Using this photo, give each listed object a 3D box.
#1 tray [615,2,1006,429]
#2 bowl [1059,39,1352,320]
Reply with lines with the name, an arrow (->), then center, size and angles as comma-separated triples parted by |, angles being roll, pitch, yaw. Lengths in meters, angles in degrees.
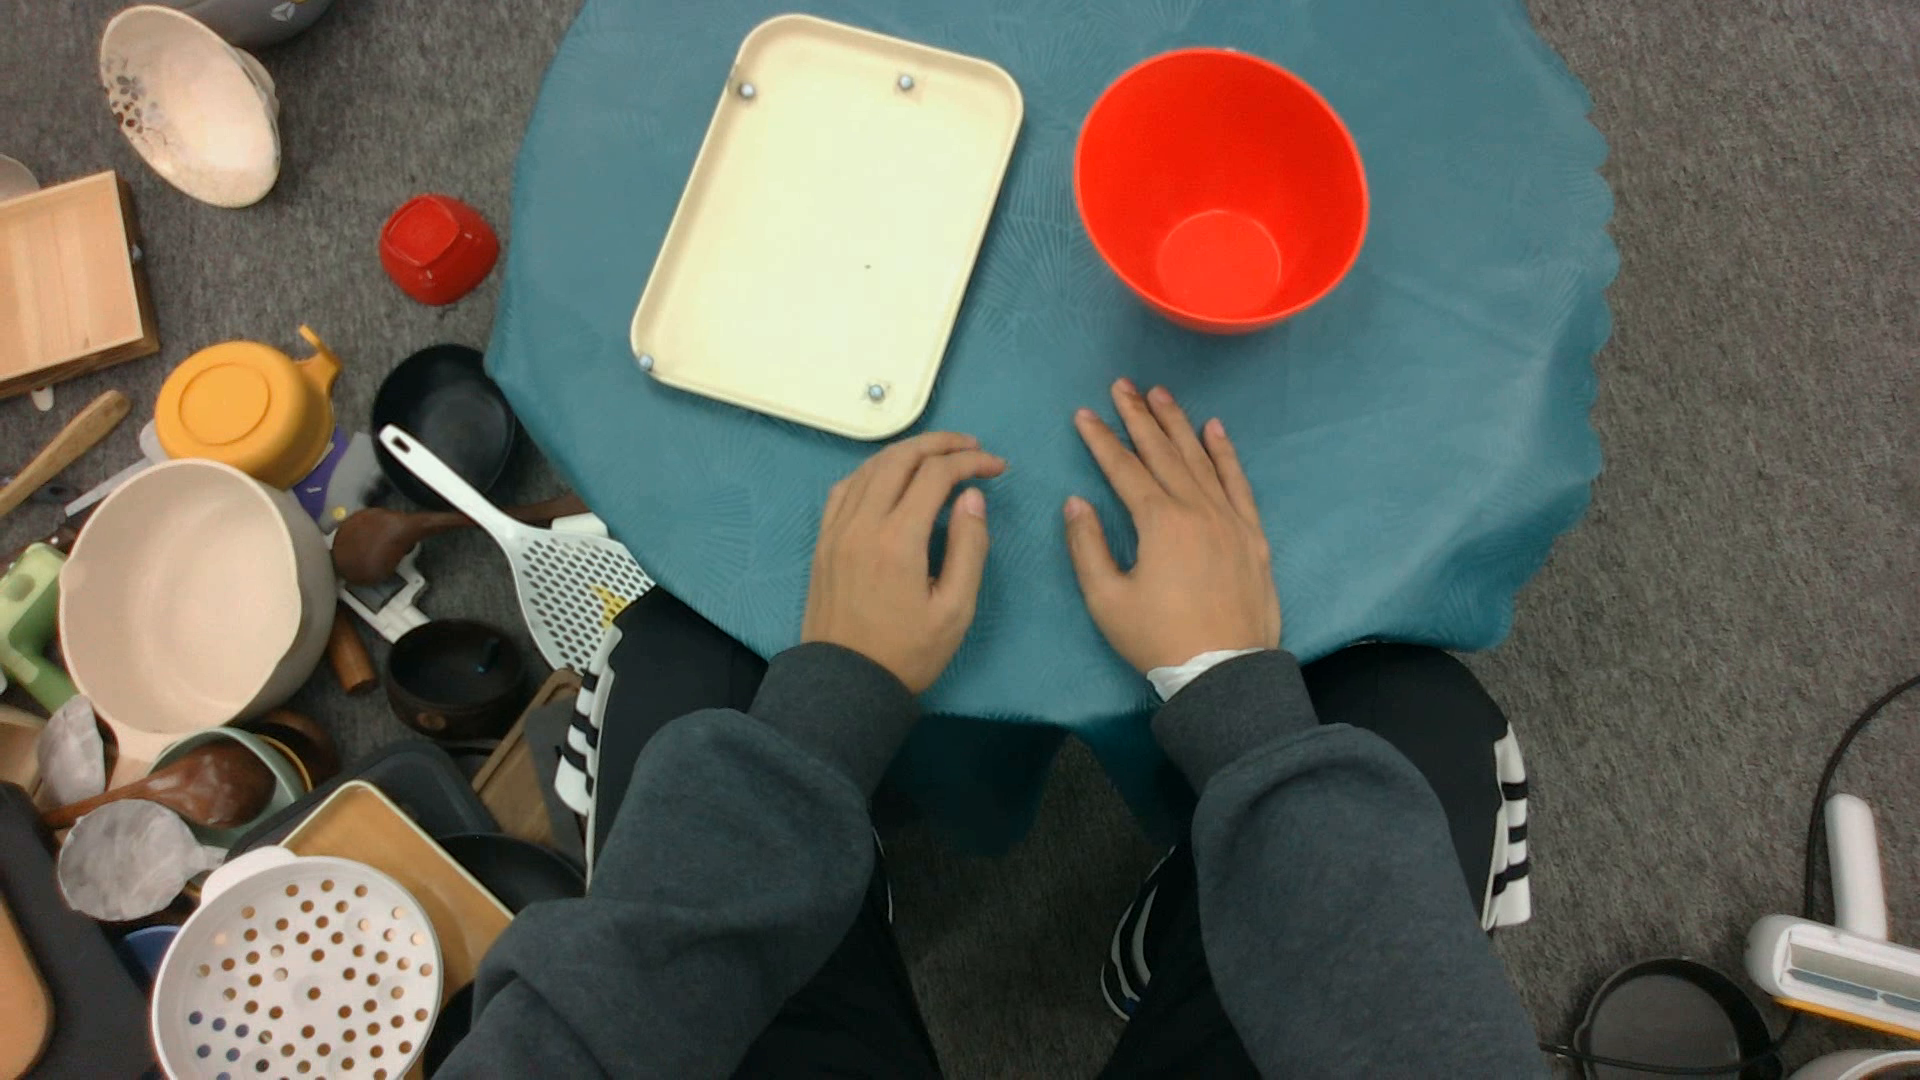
tray -> -0.081, -0.185, 0.773 | 0.171, 0.017, 0.240 | 16, 76, 5
bowl -> 0.124, -0.173, 0.722 | 0.148, 0.104, 0.148 | -1, 73, 2
